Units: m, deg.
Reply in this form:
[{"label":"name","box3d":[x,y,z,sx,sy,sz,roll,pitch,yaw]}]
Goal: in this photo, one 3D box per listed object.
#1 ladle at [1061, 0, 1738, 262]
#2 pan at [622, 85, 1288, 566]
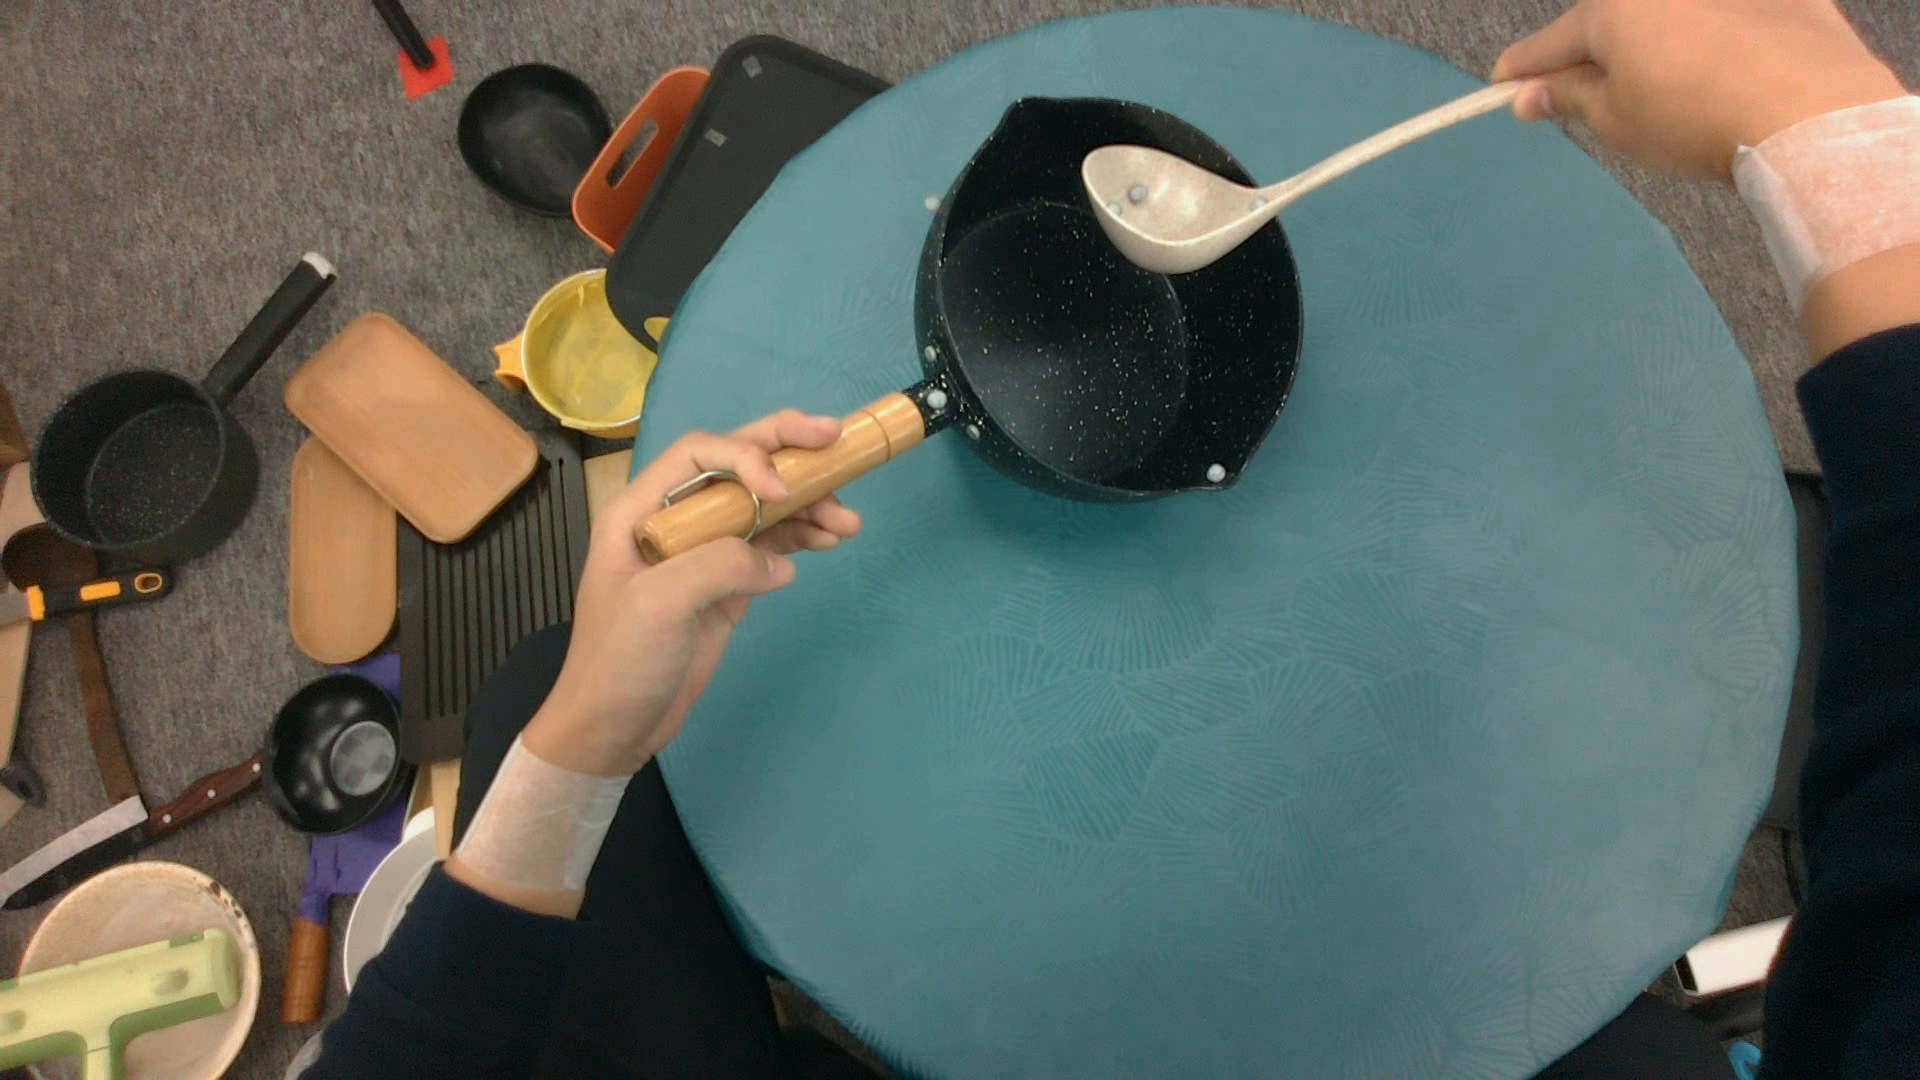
[{"label":"ladle","box3d":[0.171,-0.194,0.583,0.274,0.090,0.069,-20,111,33]},{"label":"pan","box3d":[-0.003,-0.072,0.625,0.344,0.108,0.207,-33,94,-23]}]
